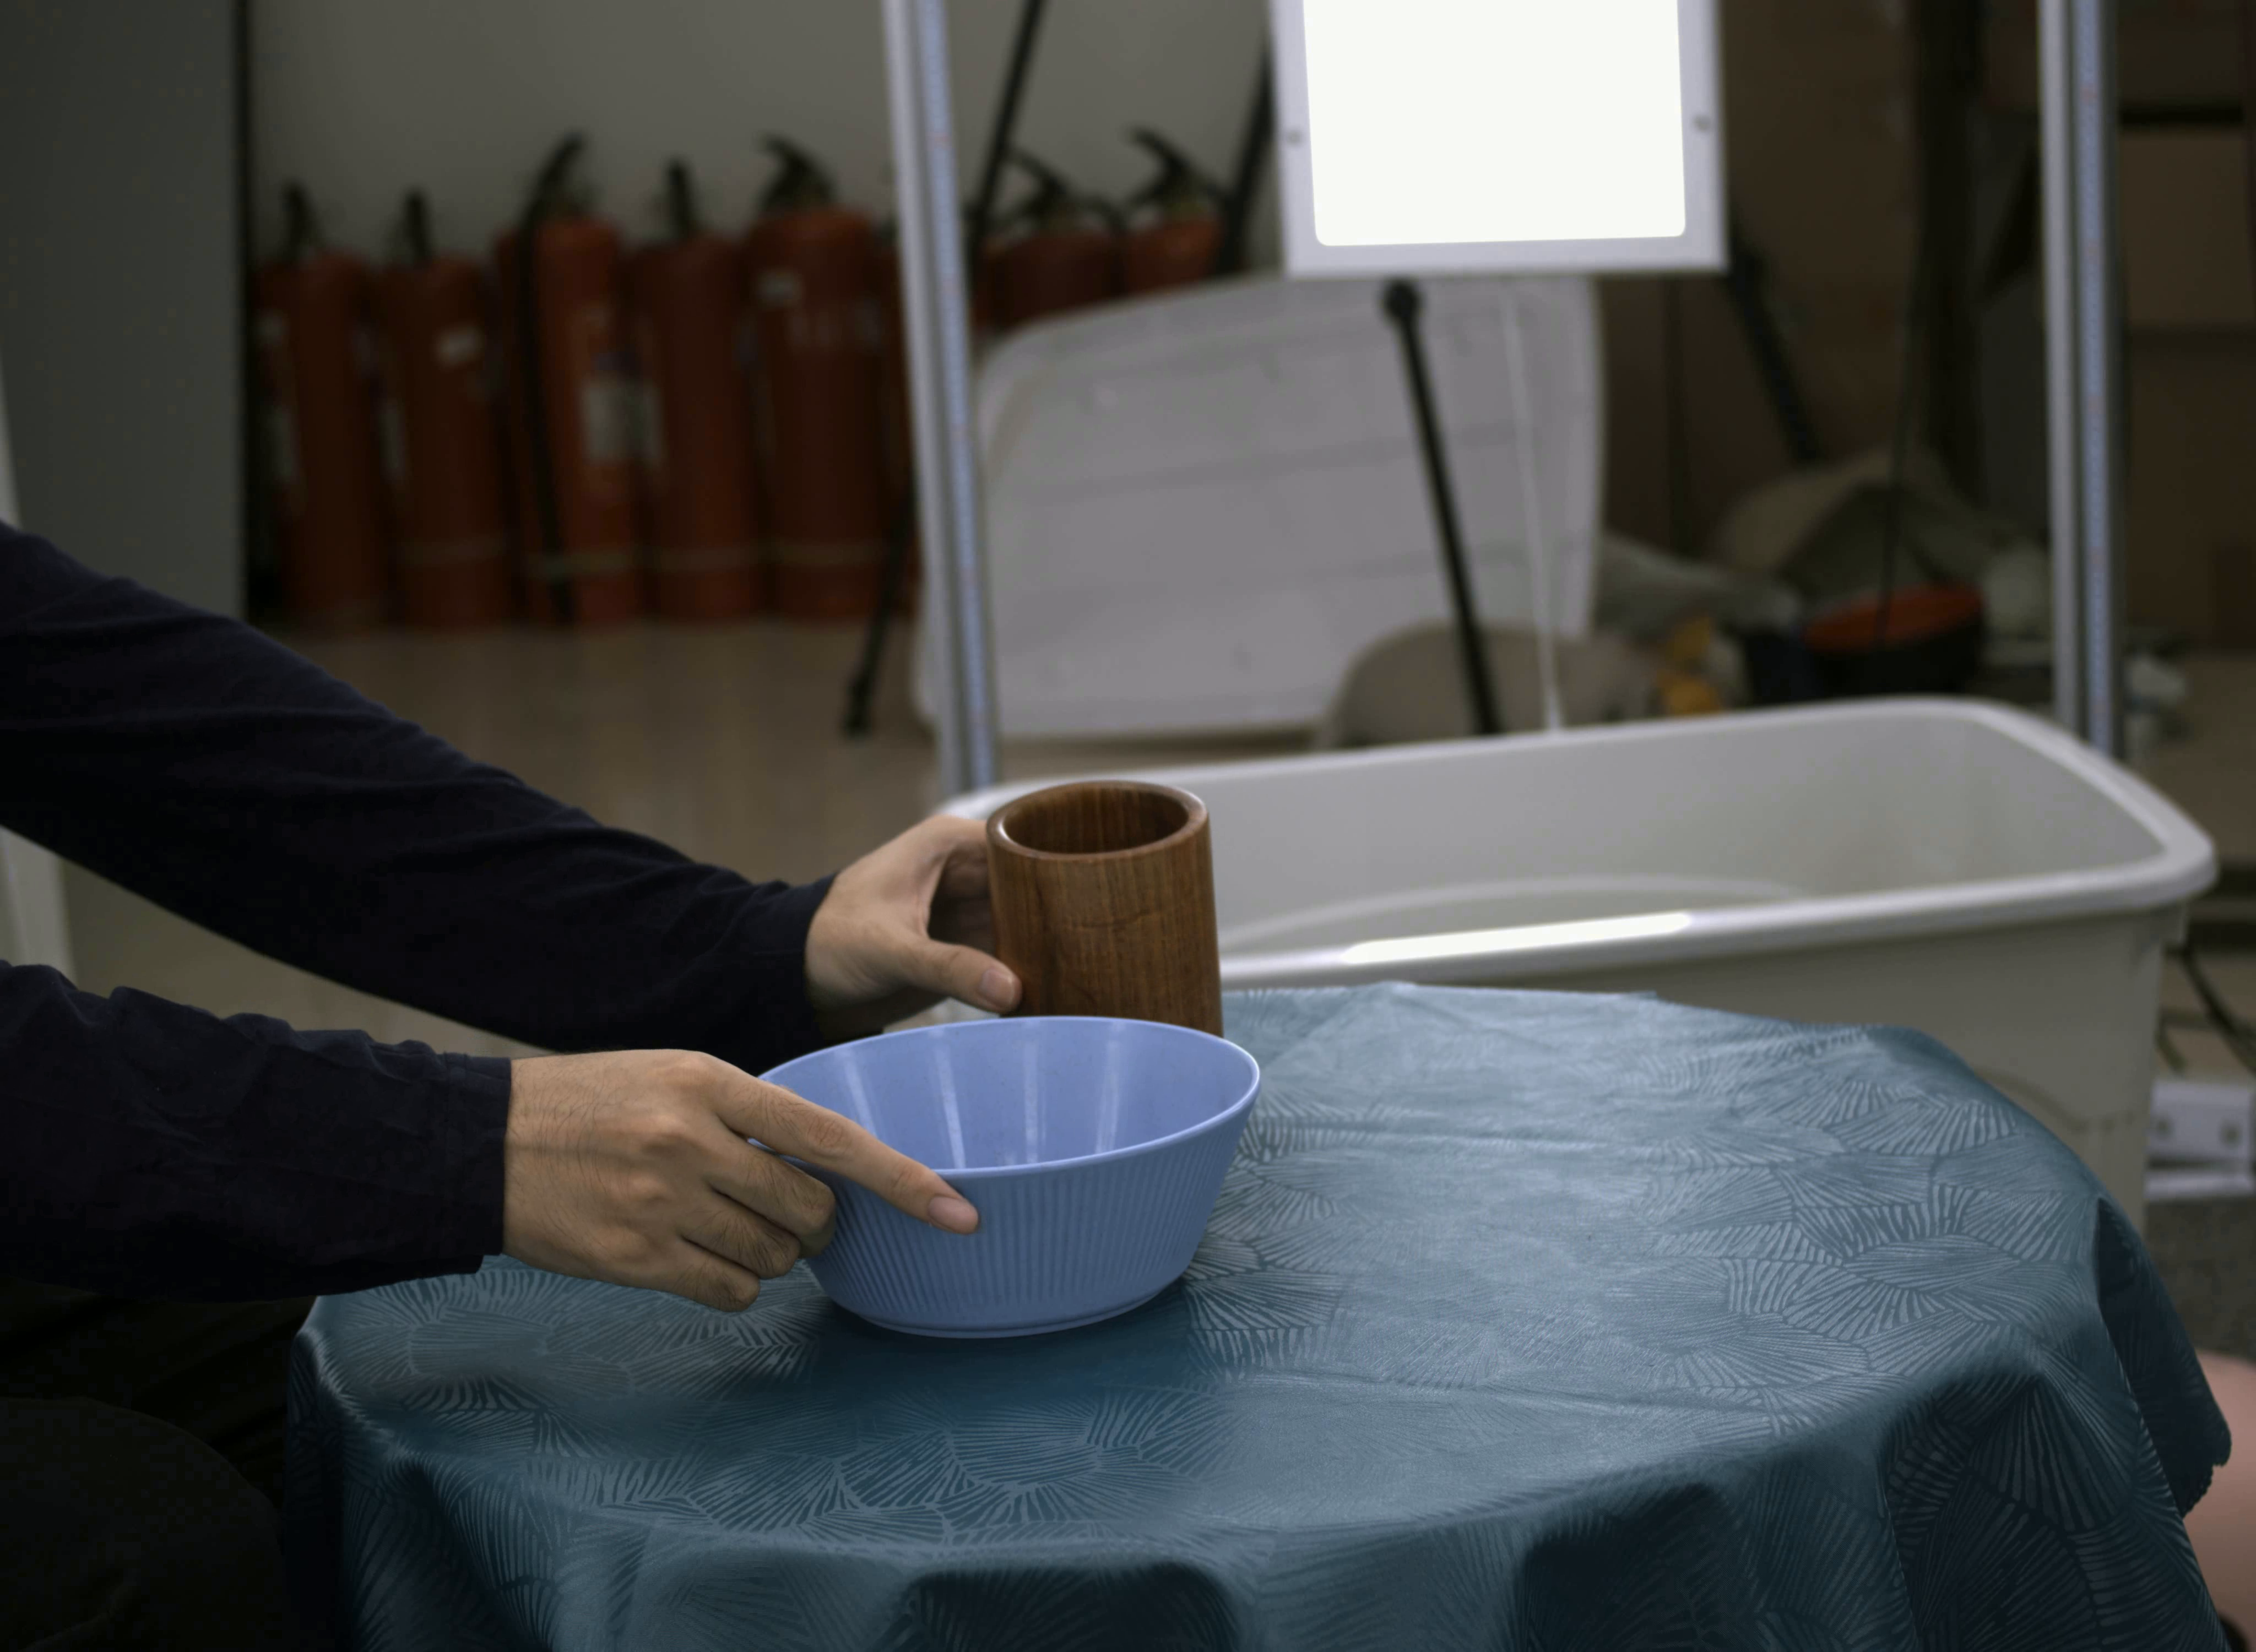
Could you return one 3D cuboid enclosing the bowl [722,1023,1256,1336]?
[{"bbox_3d":[-0.043,0.118,1.802,0.175,0.070,0.176,-5,13,0],"label":"bowl"}]

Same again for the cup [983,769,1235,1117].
[{"bbox_3d":[-0.006,0.048,1.938,0.087,0.119,0.087,-6,18,1],"label":"cup"}]
